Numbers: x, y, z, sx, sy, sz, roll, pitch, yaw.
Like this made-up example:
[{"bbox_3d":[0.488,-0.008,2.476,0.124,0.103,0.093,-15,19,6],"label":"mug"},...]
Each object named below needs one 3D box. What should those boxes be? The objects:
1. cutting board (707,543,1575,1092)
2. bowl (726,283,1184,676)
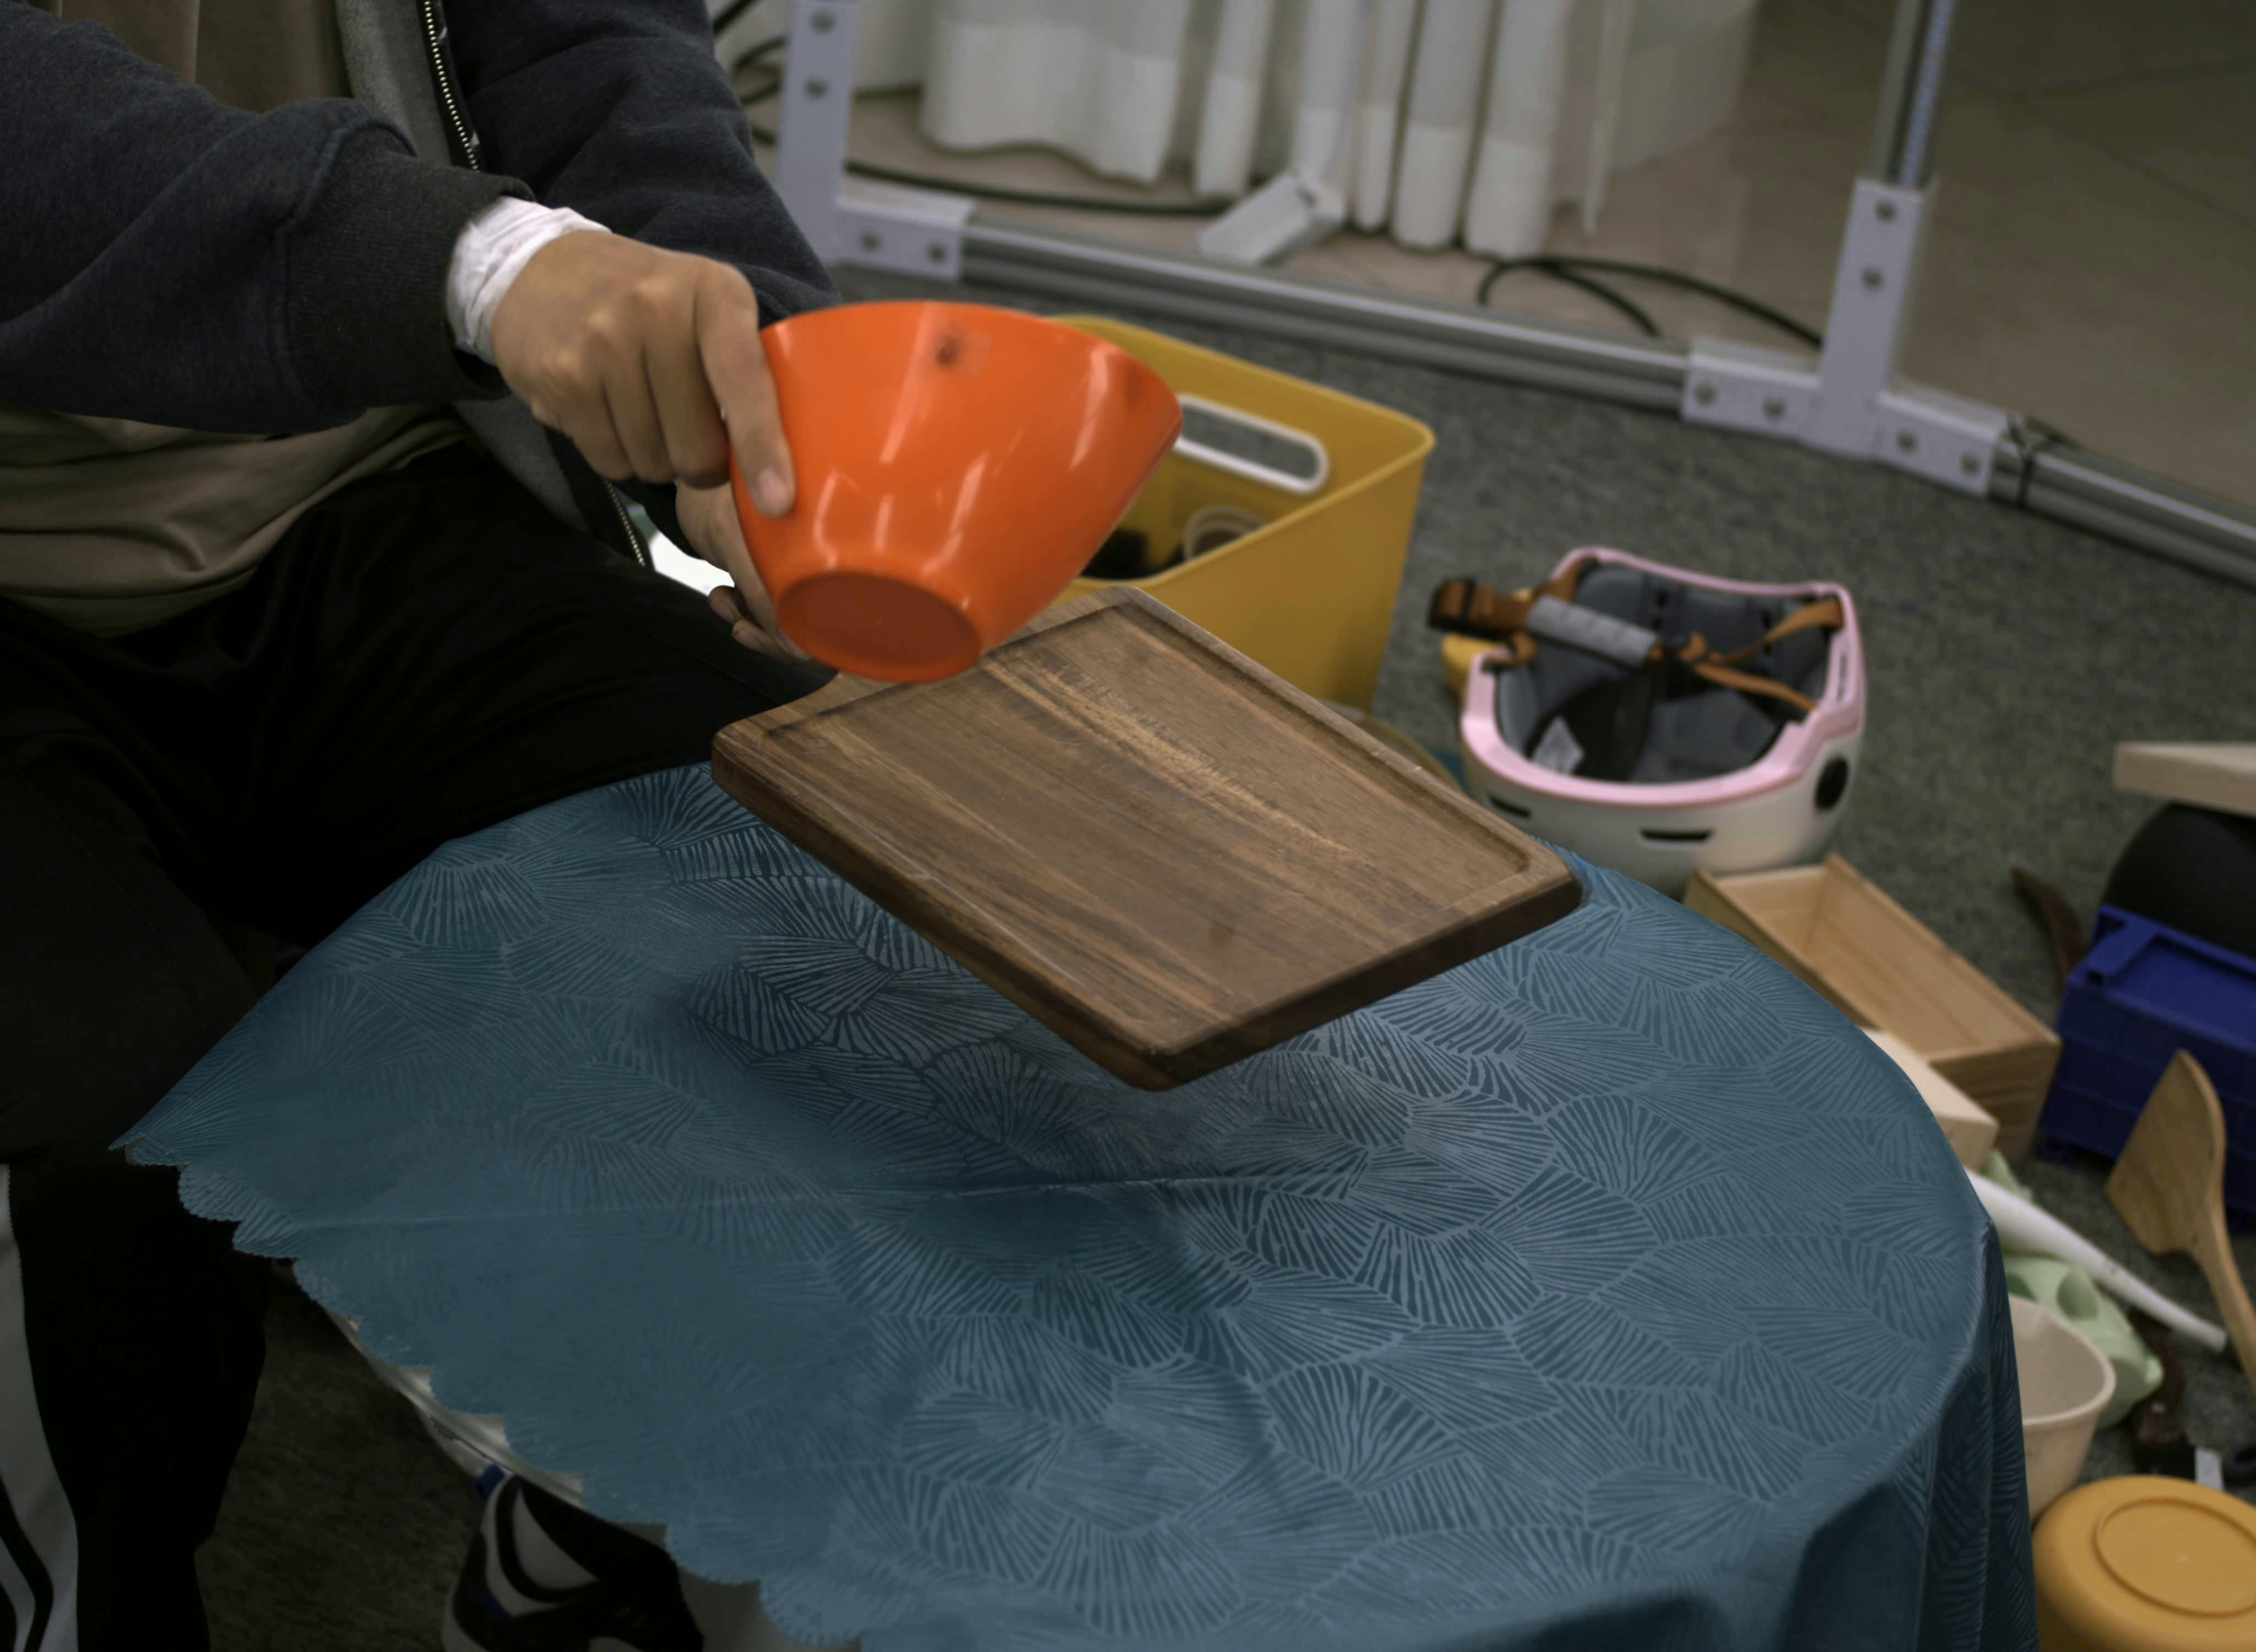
[{"bbox_3d":[-0.029,-0.023,1.891,0.200,0.023,0.355,-22,39,-34],"label":"cutting board"},{"bbox_3d":[-0.063,-0.103,1.693,0.148,0.147,0.105,10,59,4],"label":"bowl"}]
